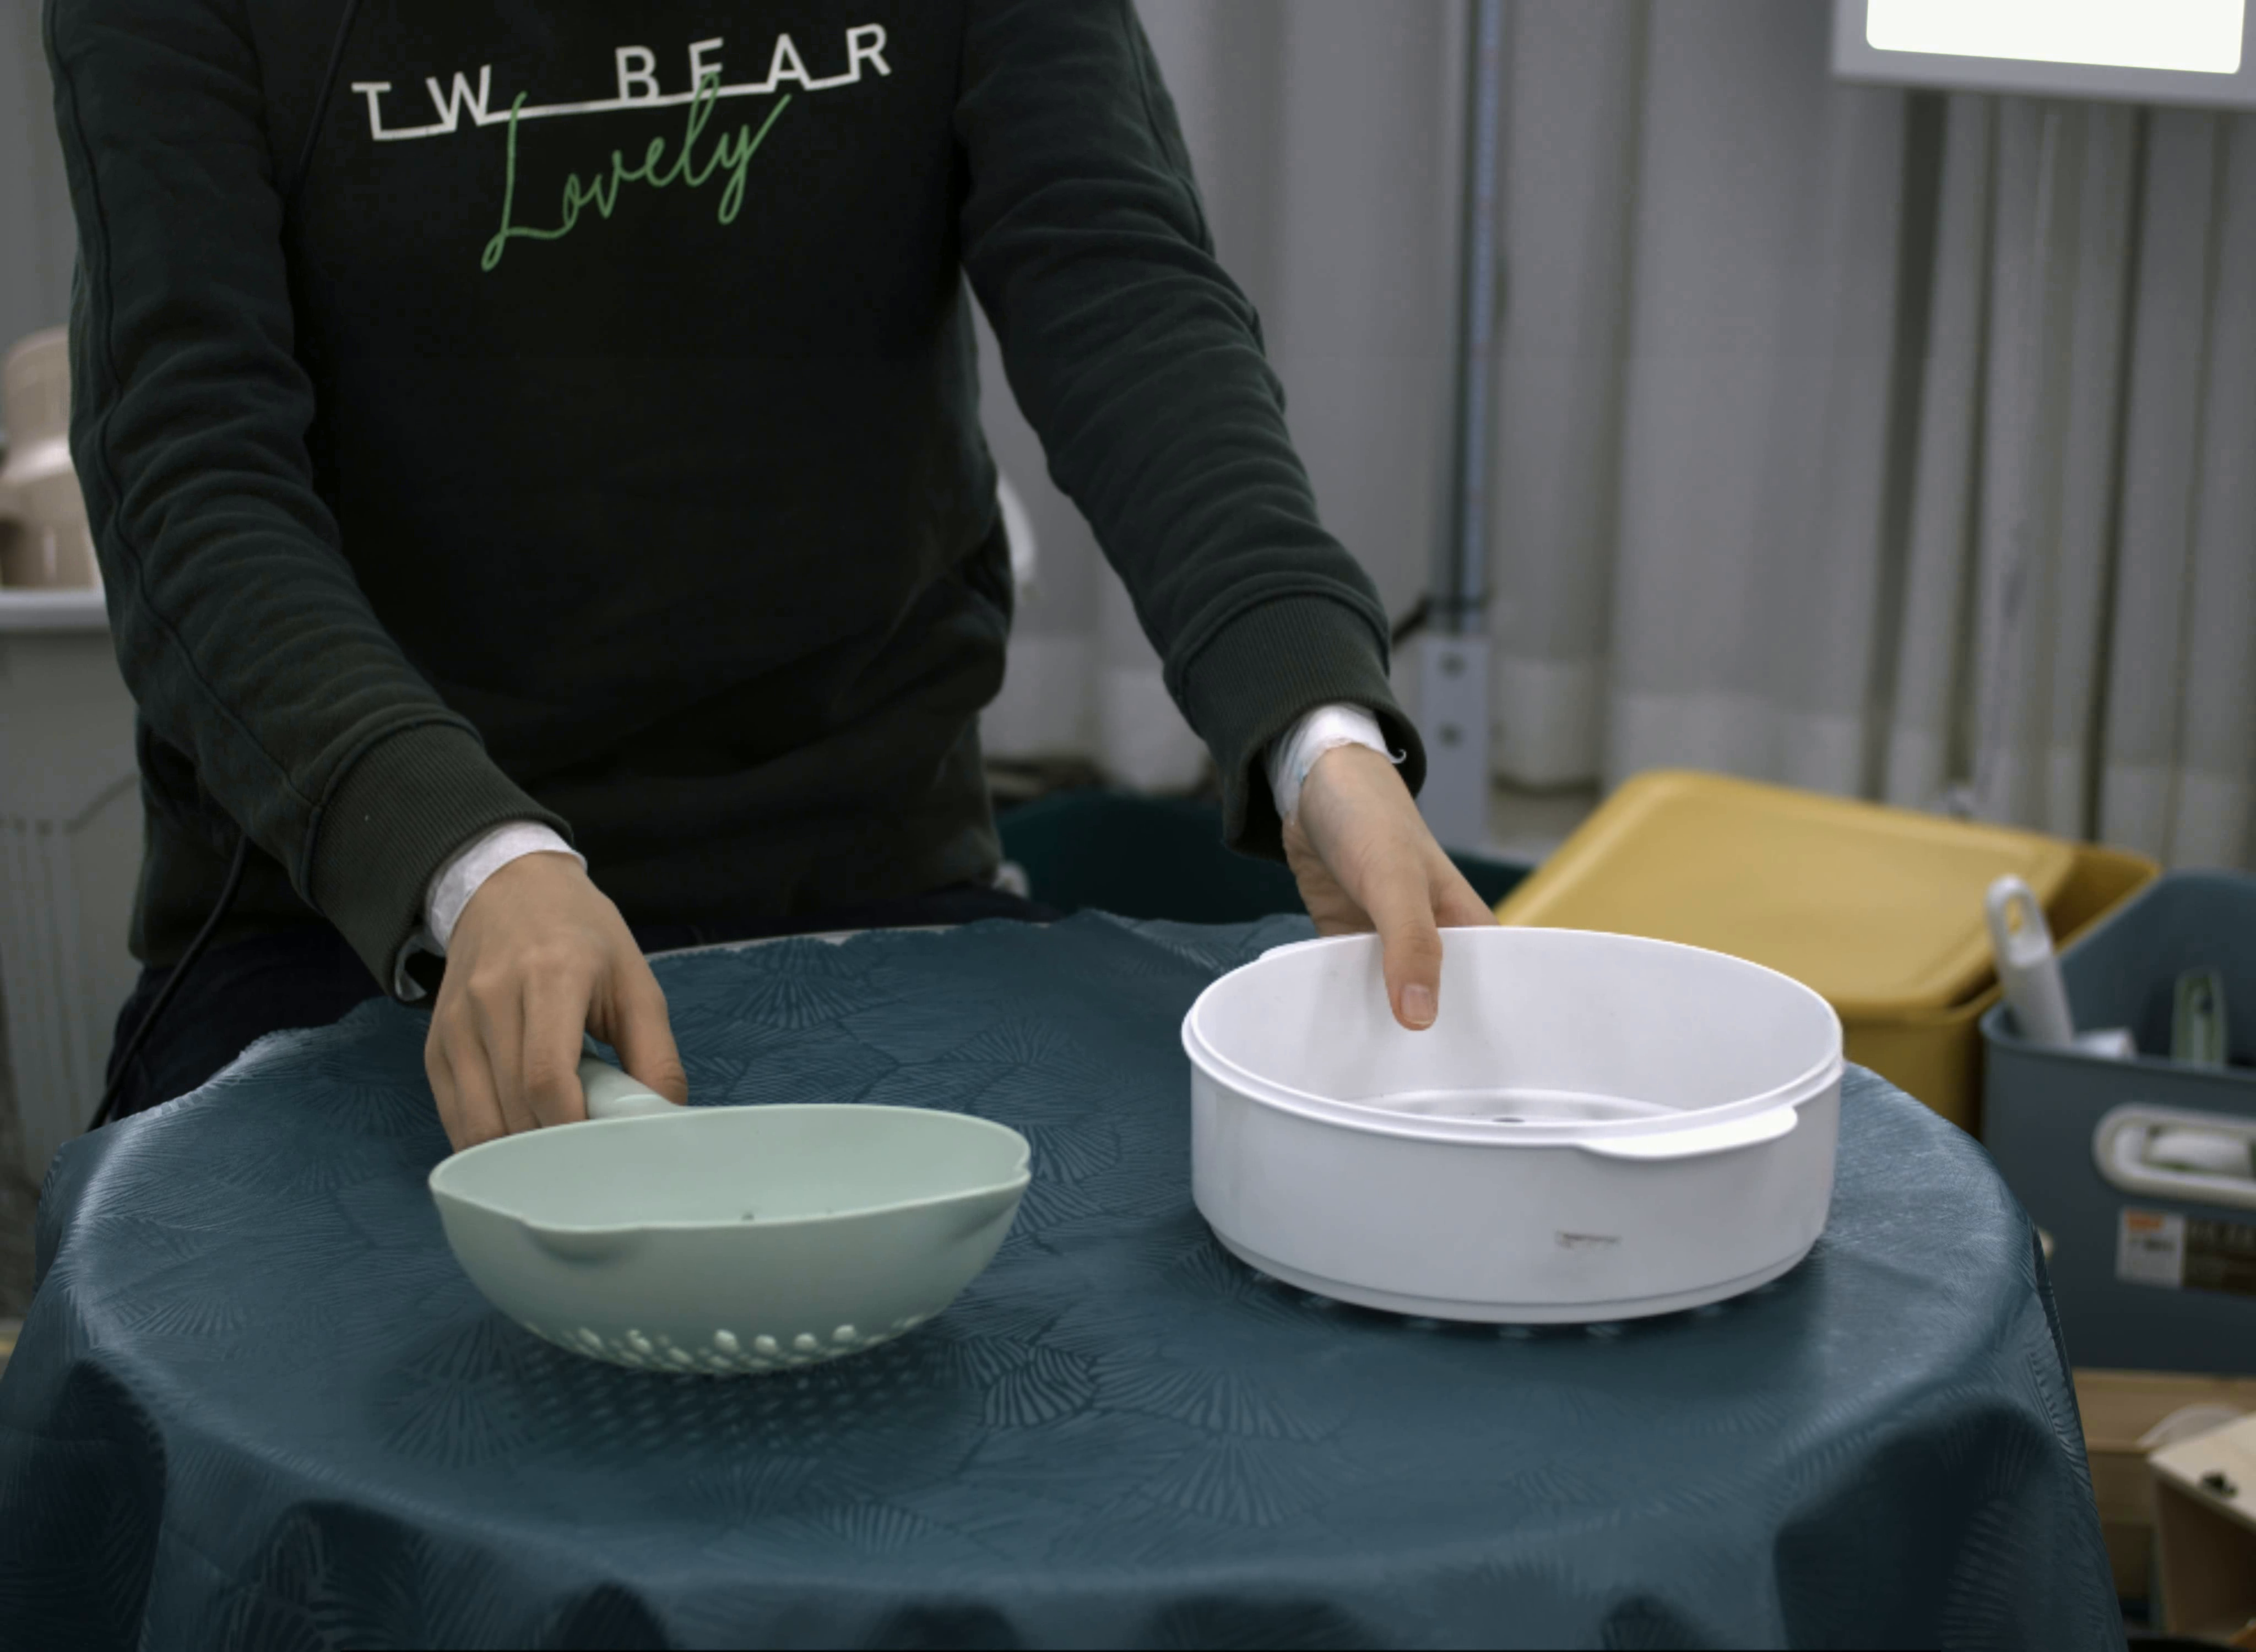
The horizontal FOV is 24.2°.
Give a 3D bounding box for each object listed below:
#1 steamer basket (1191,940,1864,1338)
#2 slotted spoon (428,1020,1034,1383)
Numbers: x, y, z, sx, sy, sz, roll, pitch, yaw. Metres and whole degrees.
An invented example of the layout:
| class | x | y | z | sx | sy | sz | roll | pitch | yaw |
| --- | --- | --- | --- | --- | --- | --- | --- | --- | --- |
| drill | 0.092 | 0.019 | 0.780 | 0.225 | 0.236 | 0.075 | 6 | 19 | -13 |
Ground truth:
| class | x | y | z | sx | sy | sz | roll | pitch | yaw |
| --- | --- | --- | --- | --- | --- | --- | --- | --- | --- |
| steamer basket | 0.119 | 0.093 | 1.582 | 0.203 | 0.070 | 0.227 | -7 | 18 | -28 |
| slotted spoon | -0.141 | 0.095 | 1.564 | 0.170 | 0.076 | 0.355 | -4 | 17 | -18 |
